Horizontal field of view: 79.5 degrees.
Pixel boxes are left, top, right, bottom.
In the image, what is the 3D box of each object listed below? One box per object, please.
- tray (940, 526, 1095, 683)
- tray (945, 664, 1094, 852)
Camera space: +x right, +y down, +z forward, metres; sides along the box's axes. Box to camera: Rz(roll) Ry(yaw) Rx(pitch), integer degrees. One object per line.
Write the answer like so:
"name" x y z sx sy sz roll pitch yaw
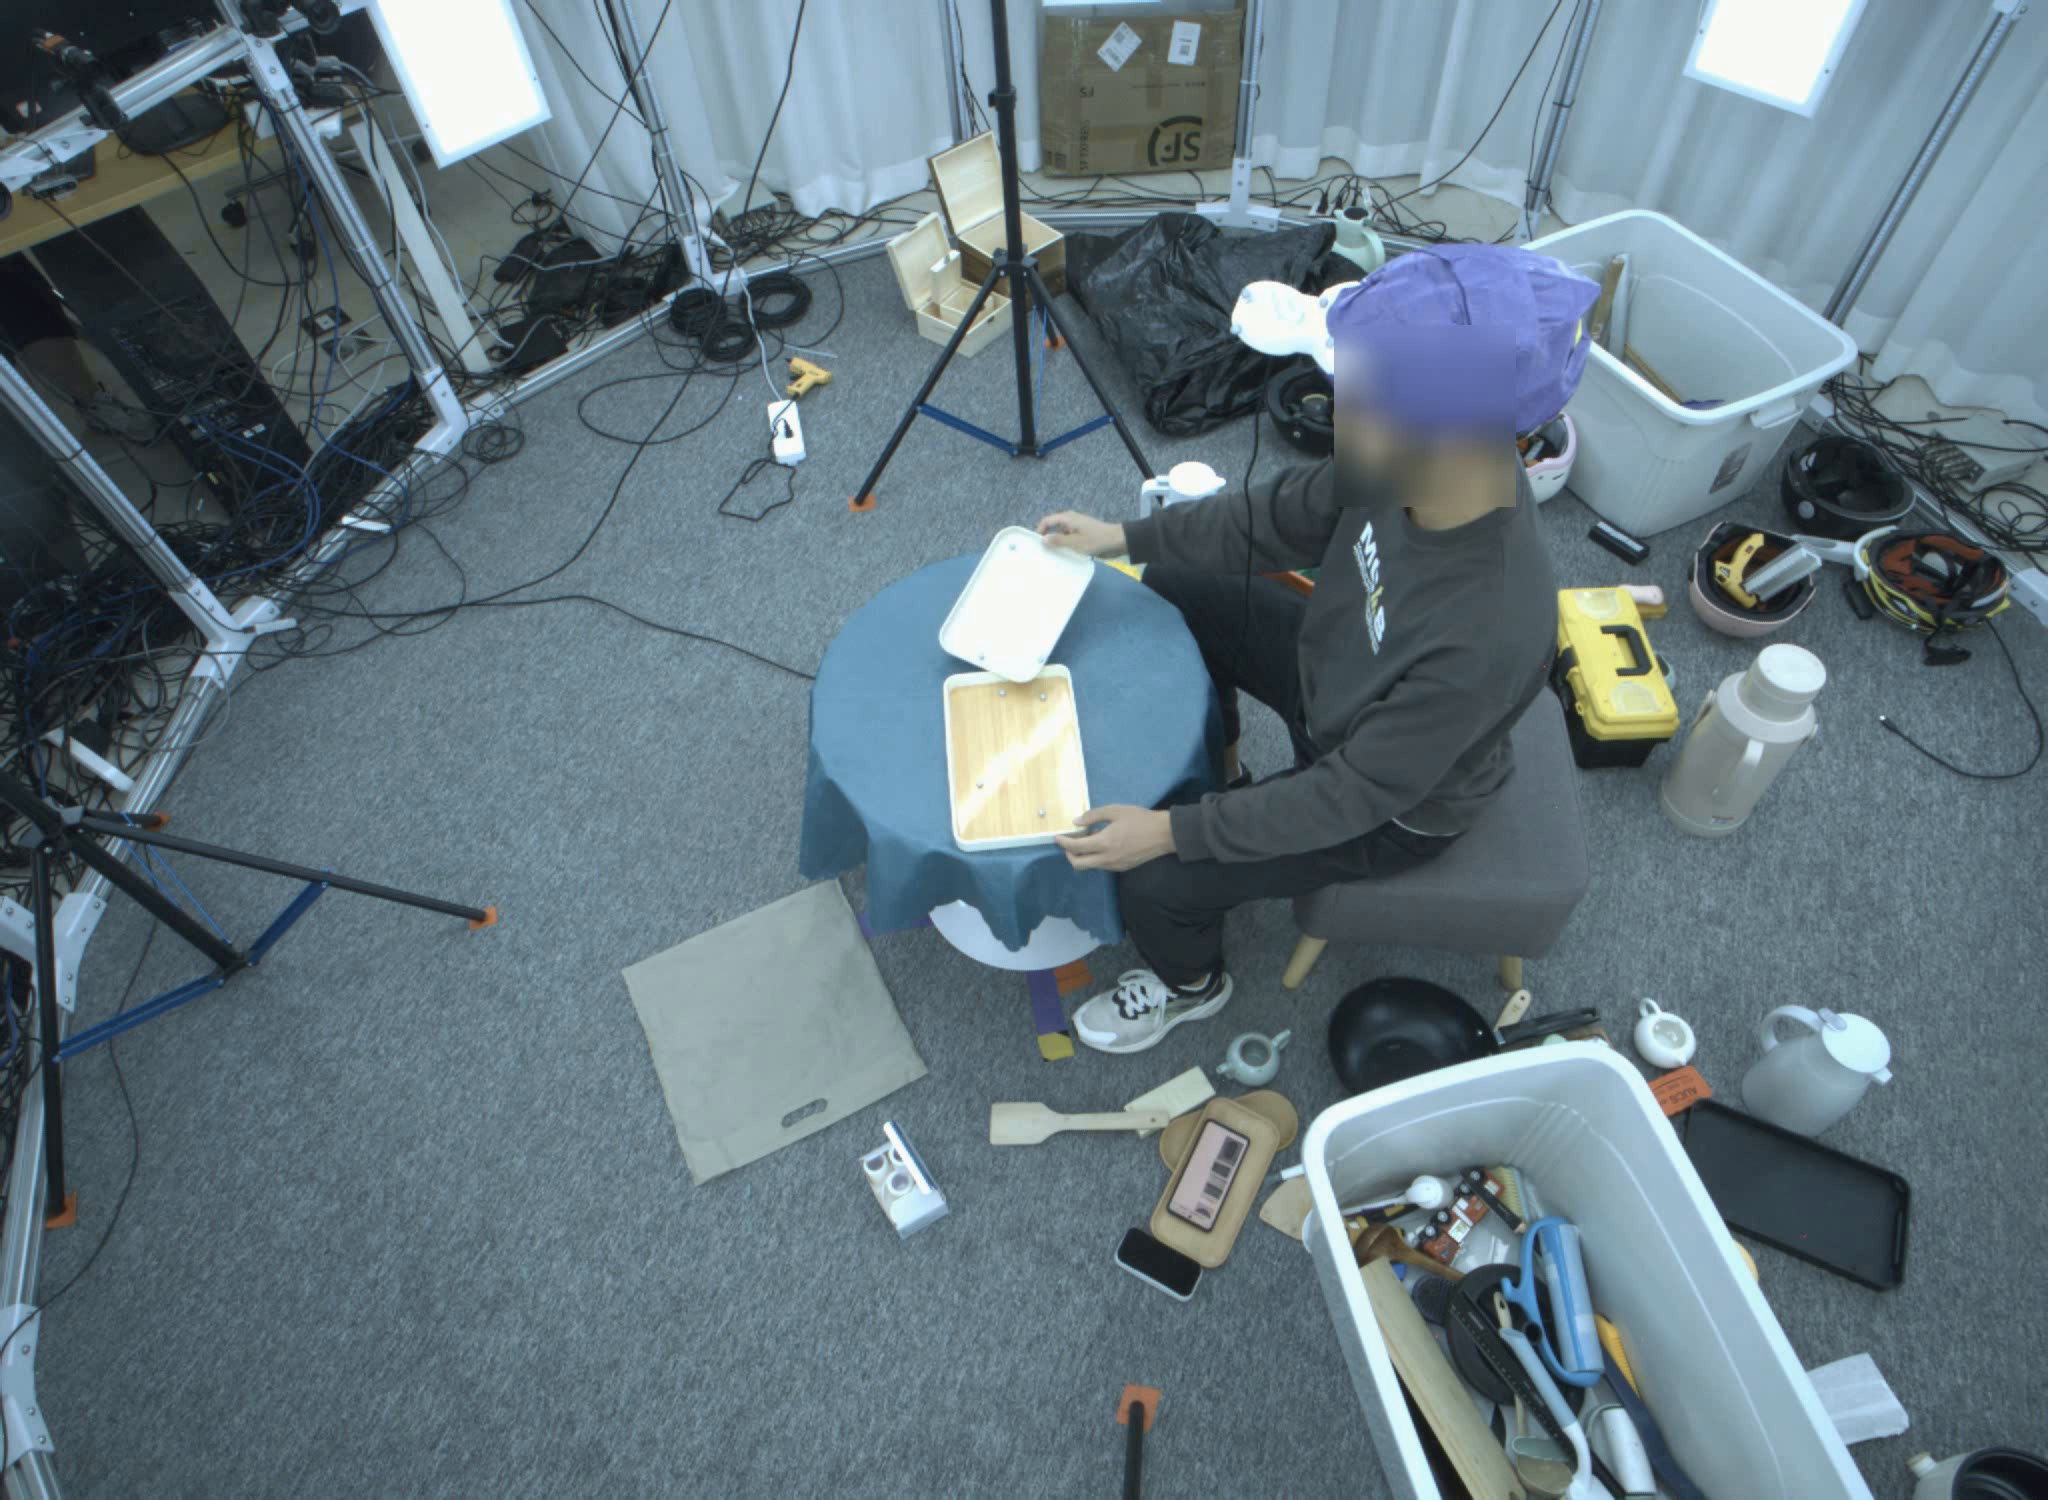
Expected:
"tray" -0.009 -0.222 1.866 0.169 0.017 0.239 24 73 12
"tray" -0.011 0.006 1.765 0.192 0.028 0.296 -5 55 -2
